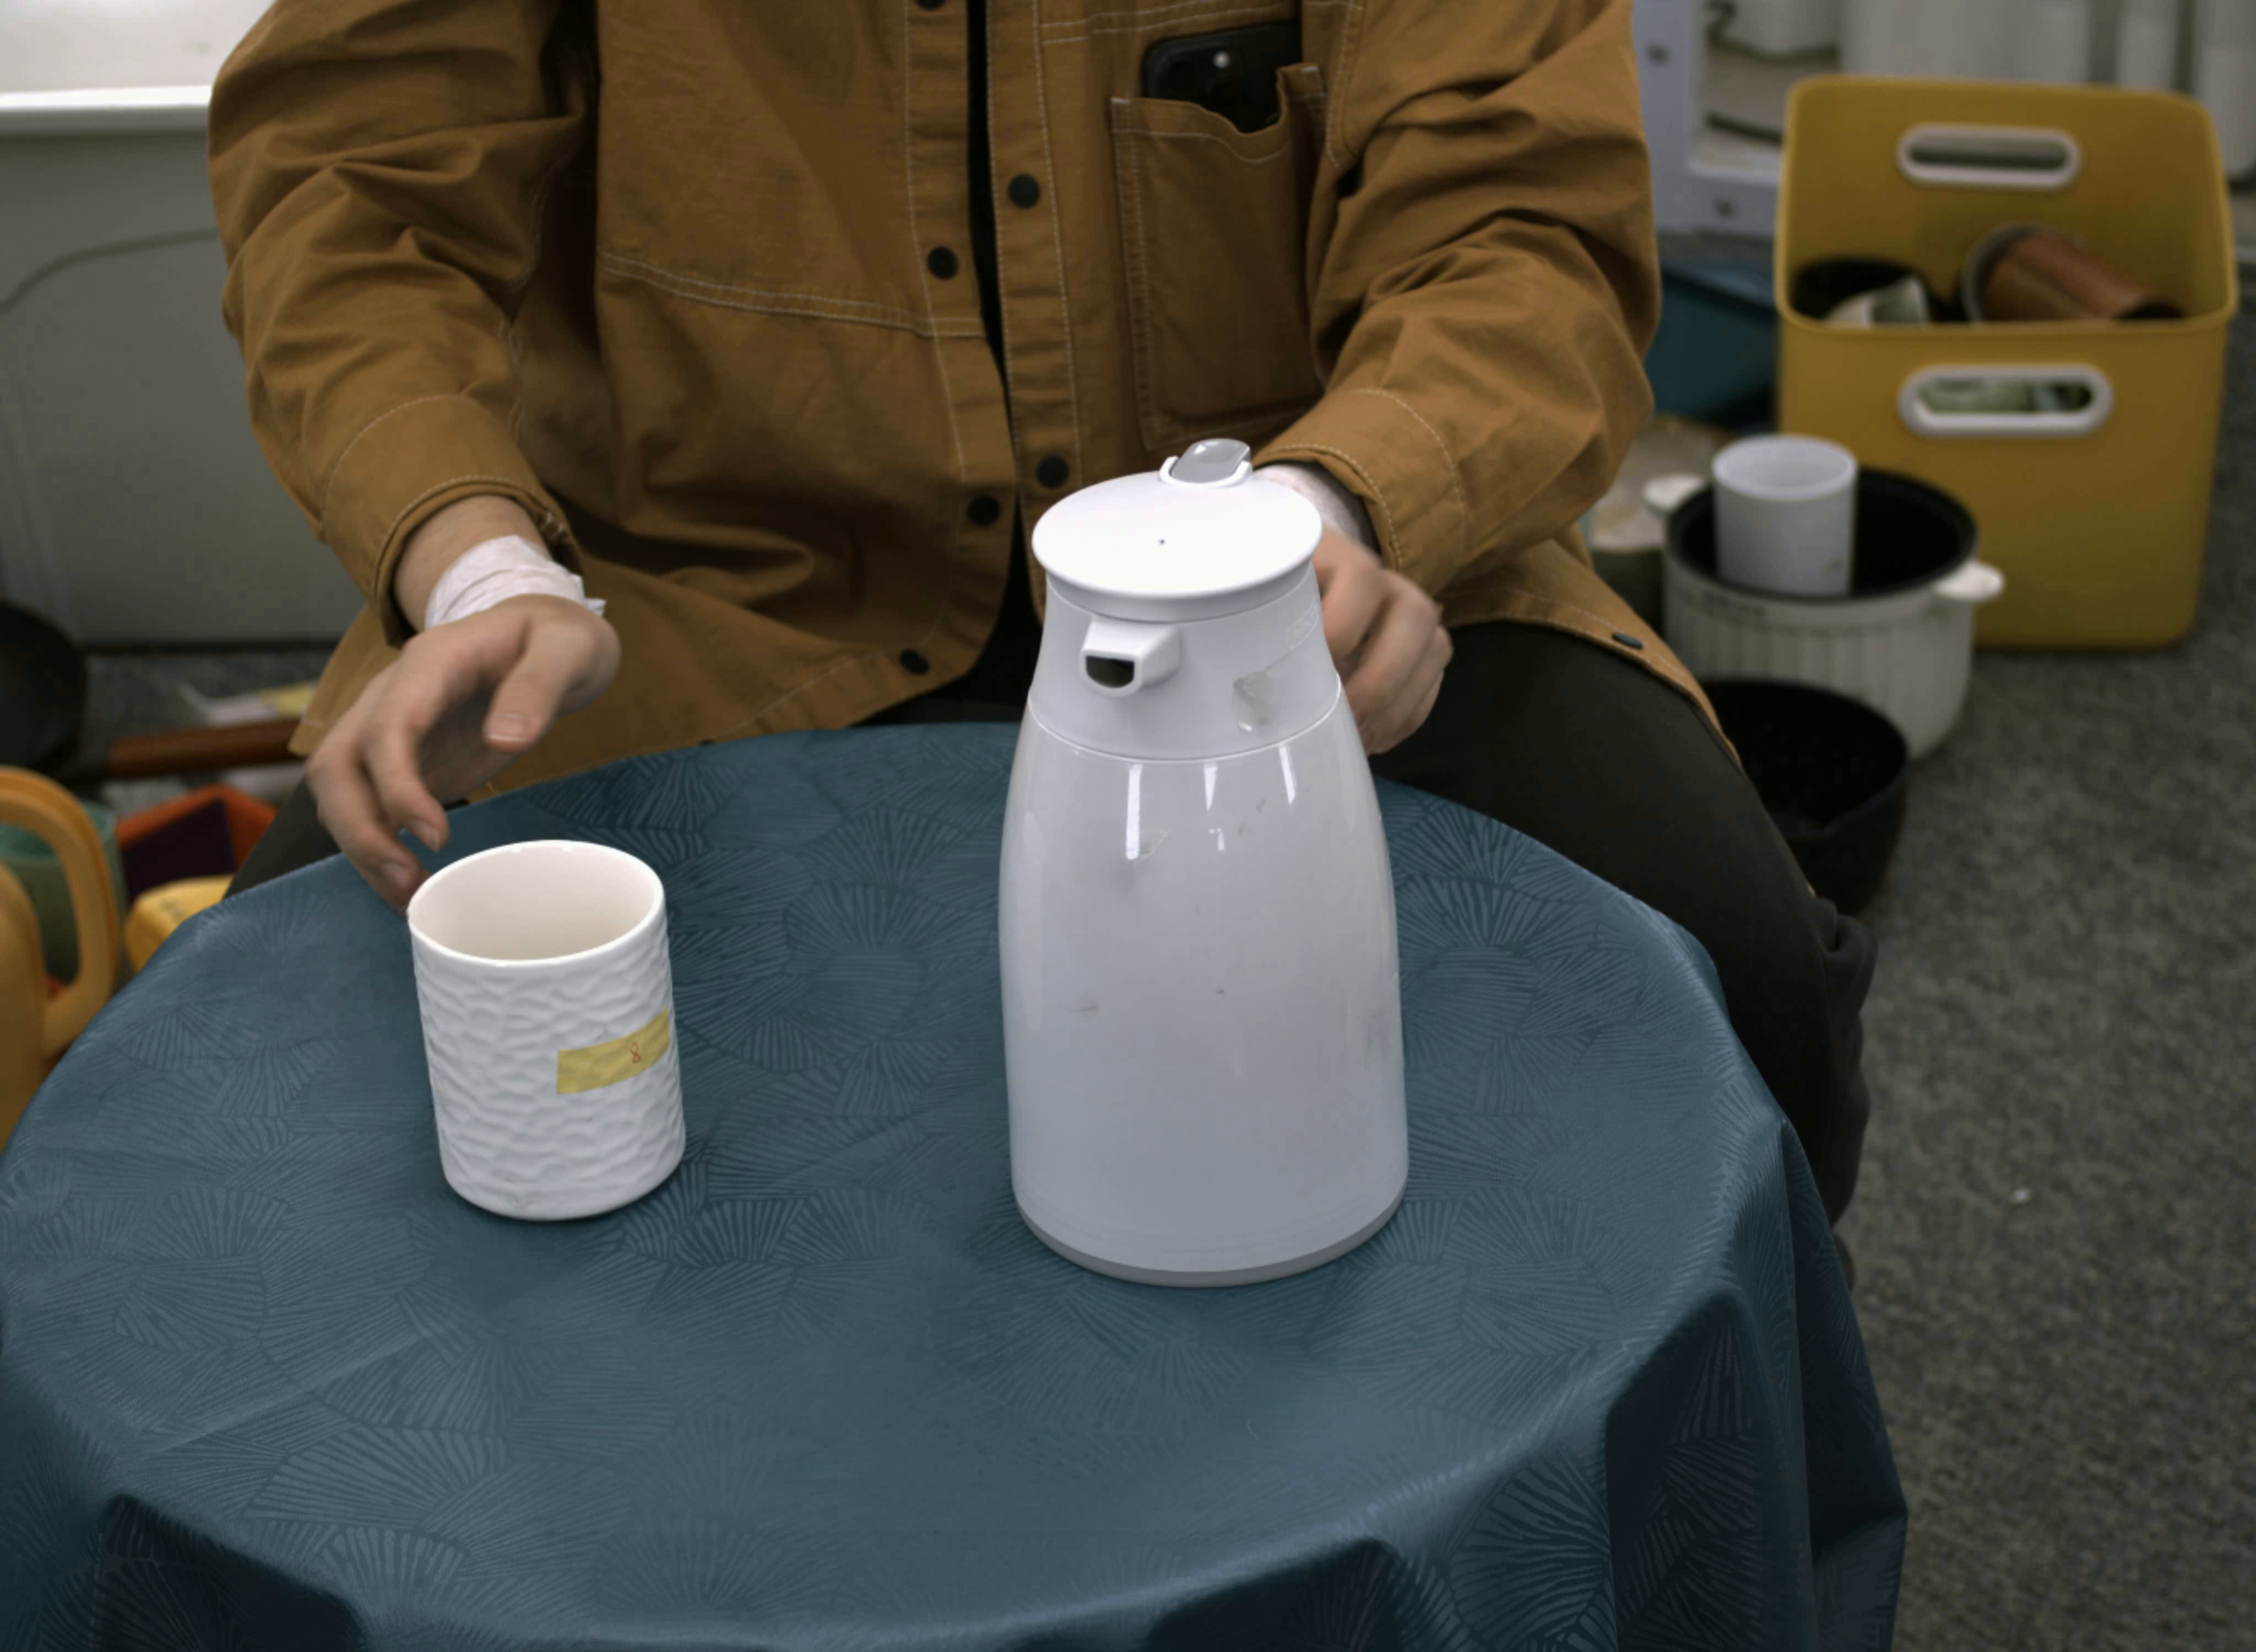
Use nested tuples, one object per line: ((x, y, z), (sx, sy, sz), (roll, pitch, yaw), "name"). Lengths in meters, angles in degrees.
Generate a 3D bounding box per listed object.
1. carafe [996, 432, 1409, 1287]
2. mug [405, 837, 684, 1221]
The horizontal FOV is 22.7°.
((0.025, 0.000, 1.825), (0.131, 0.246, 0.170), (5, 27, 18), "carafe")
((-0.199, 0.062, 1.883), (0.085, 0.101, 0.119), (-12, 28, -18), "mug")
